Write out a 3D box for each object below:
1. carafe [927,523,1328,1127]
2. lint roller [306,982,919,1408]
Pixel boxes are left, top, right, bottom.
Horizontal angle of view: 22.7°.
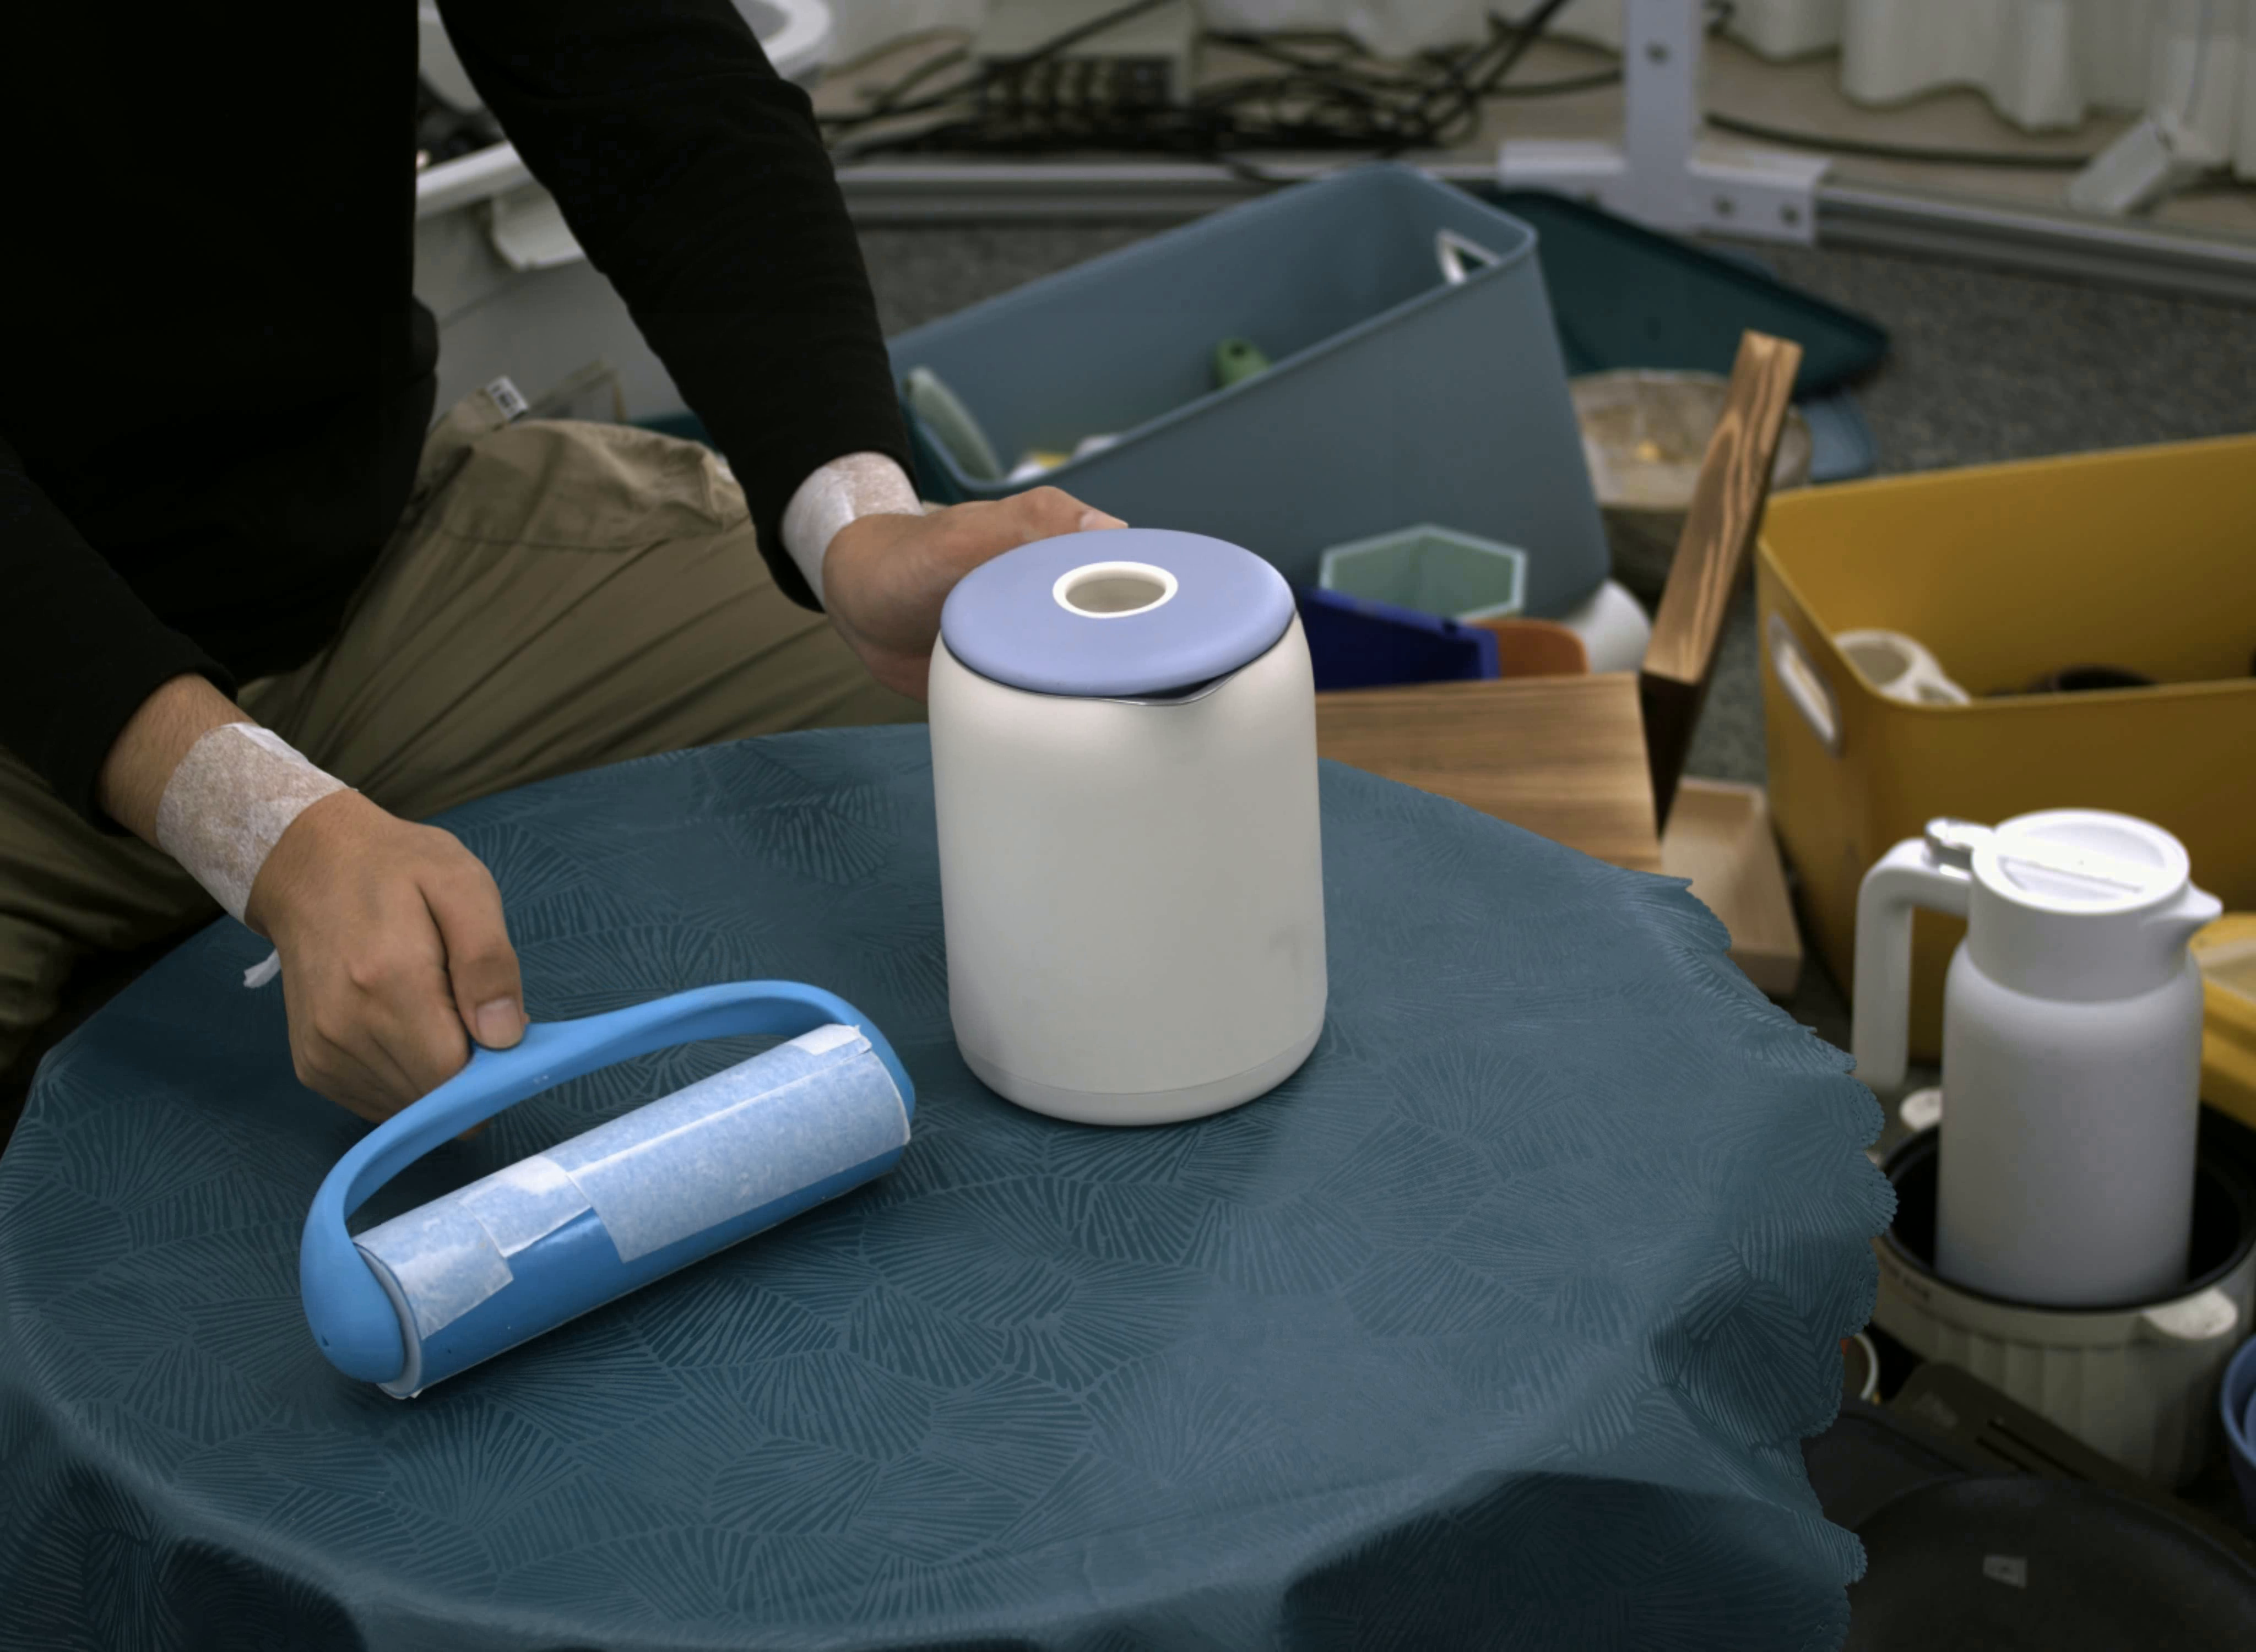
[{"bbox_3d":[-0.008,-0.011,1.933,0.132,0.181,0.192,-12,26,-18],"label":"carafe"},{"bbox_3d":[-0.202,0.097,1.854,0.231,0.067,0.181,-27,46,-33],"label":"lint roller"}]
